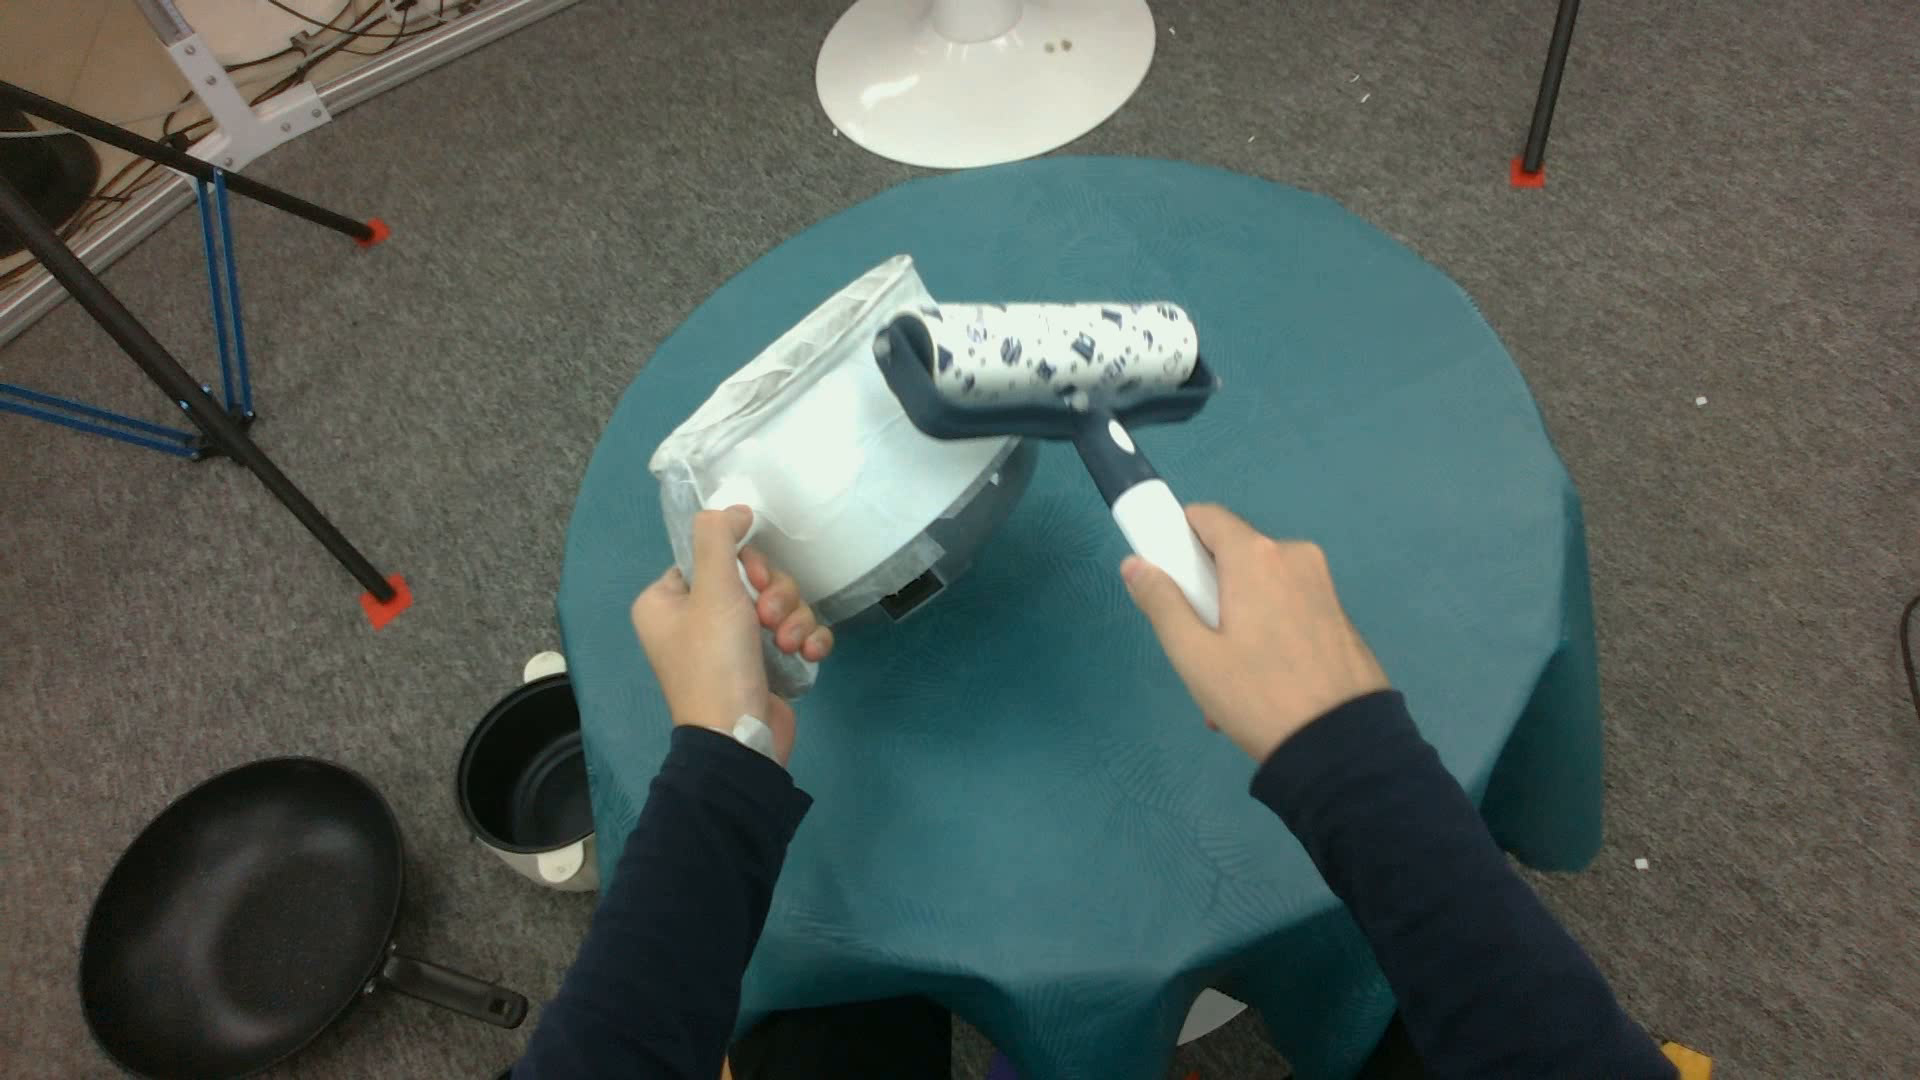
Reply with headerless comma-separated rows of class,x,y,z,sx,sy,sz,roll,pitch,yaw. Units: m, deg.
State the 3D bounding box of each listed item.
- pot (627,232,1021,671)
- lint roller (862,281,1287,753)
pot,-0.078,-0.042,0.716,0.178,0.136,0.235,-28,18,41
lint roller,0.079,-0.020,0.611,0.177,0.050,0.247,-9,58,-38
